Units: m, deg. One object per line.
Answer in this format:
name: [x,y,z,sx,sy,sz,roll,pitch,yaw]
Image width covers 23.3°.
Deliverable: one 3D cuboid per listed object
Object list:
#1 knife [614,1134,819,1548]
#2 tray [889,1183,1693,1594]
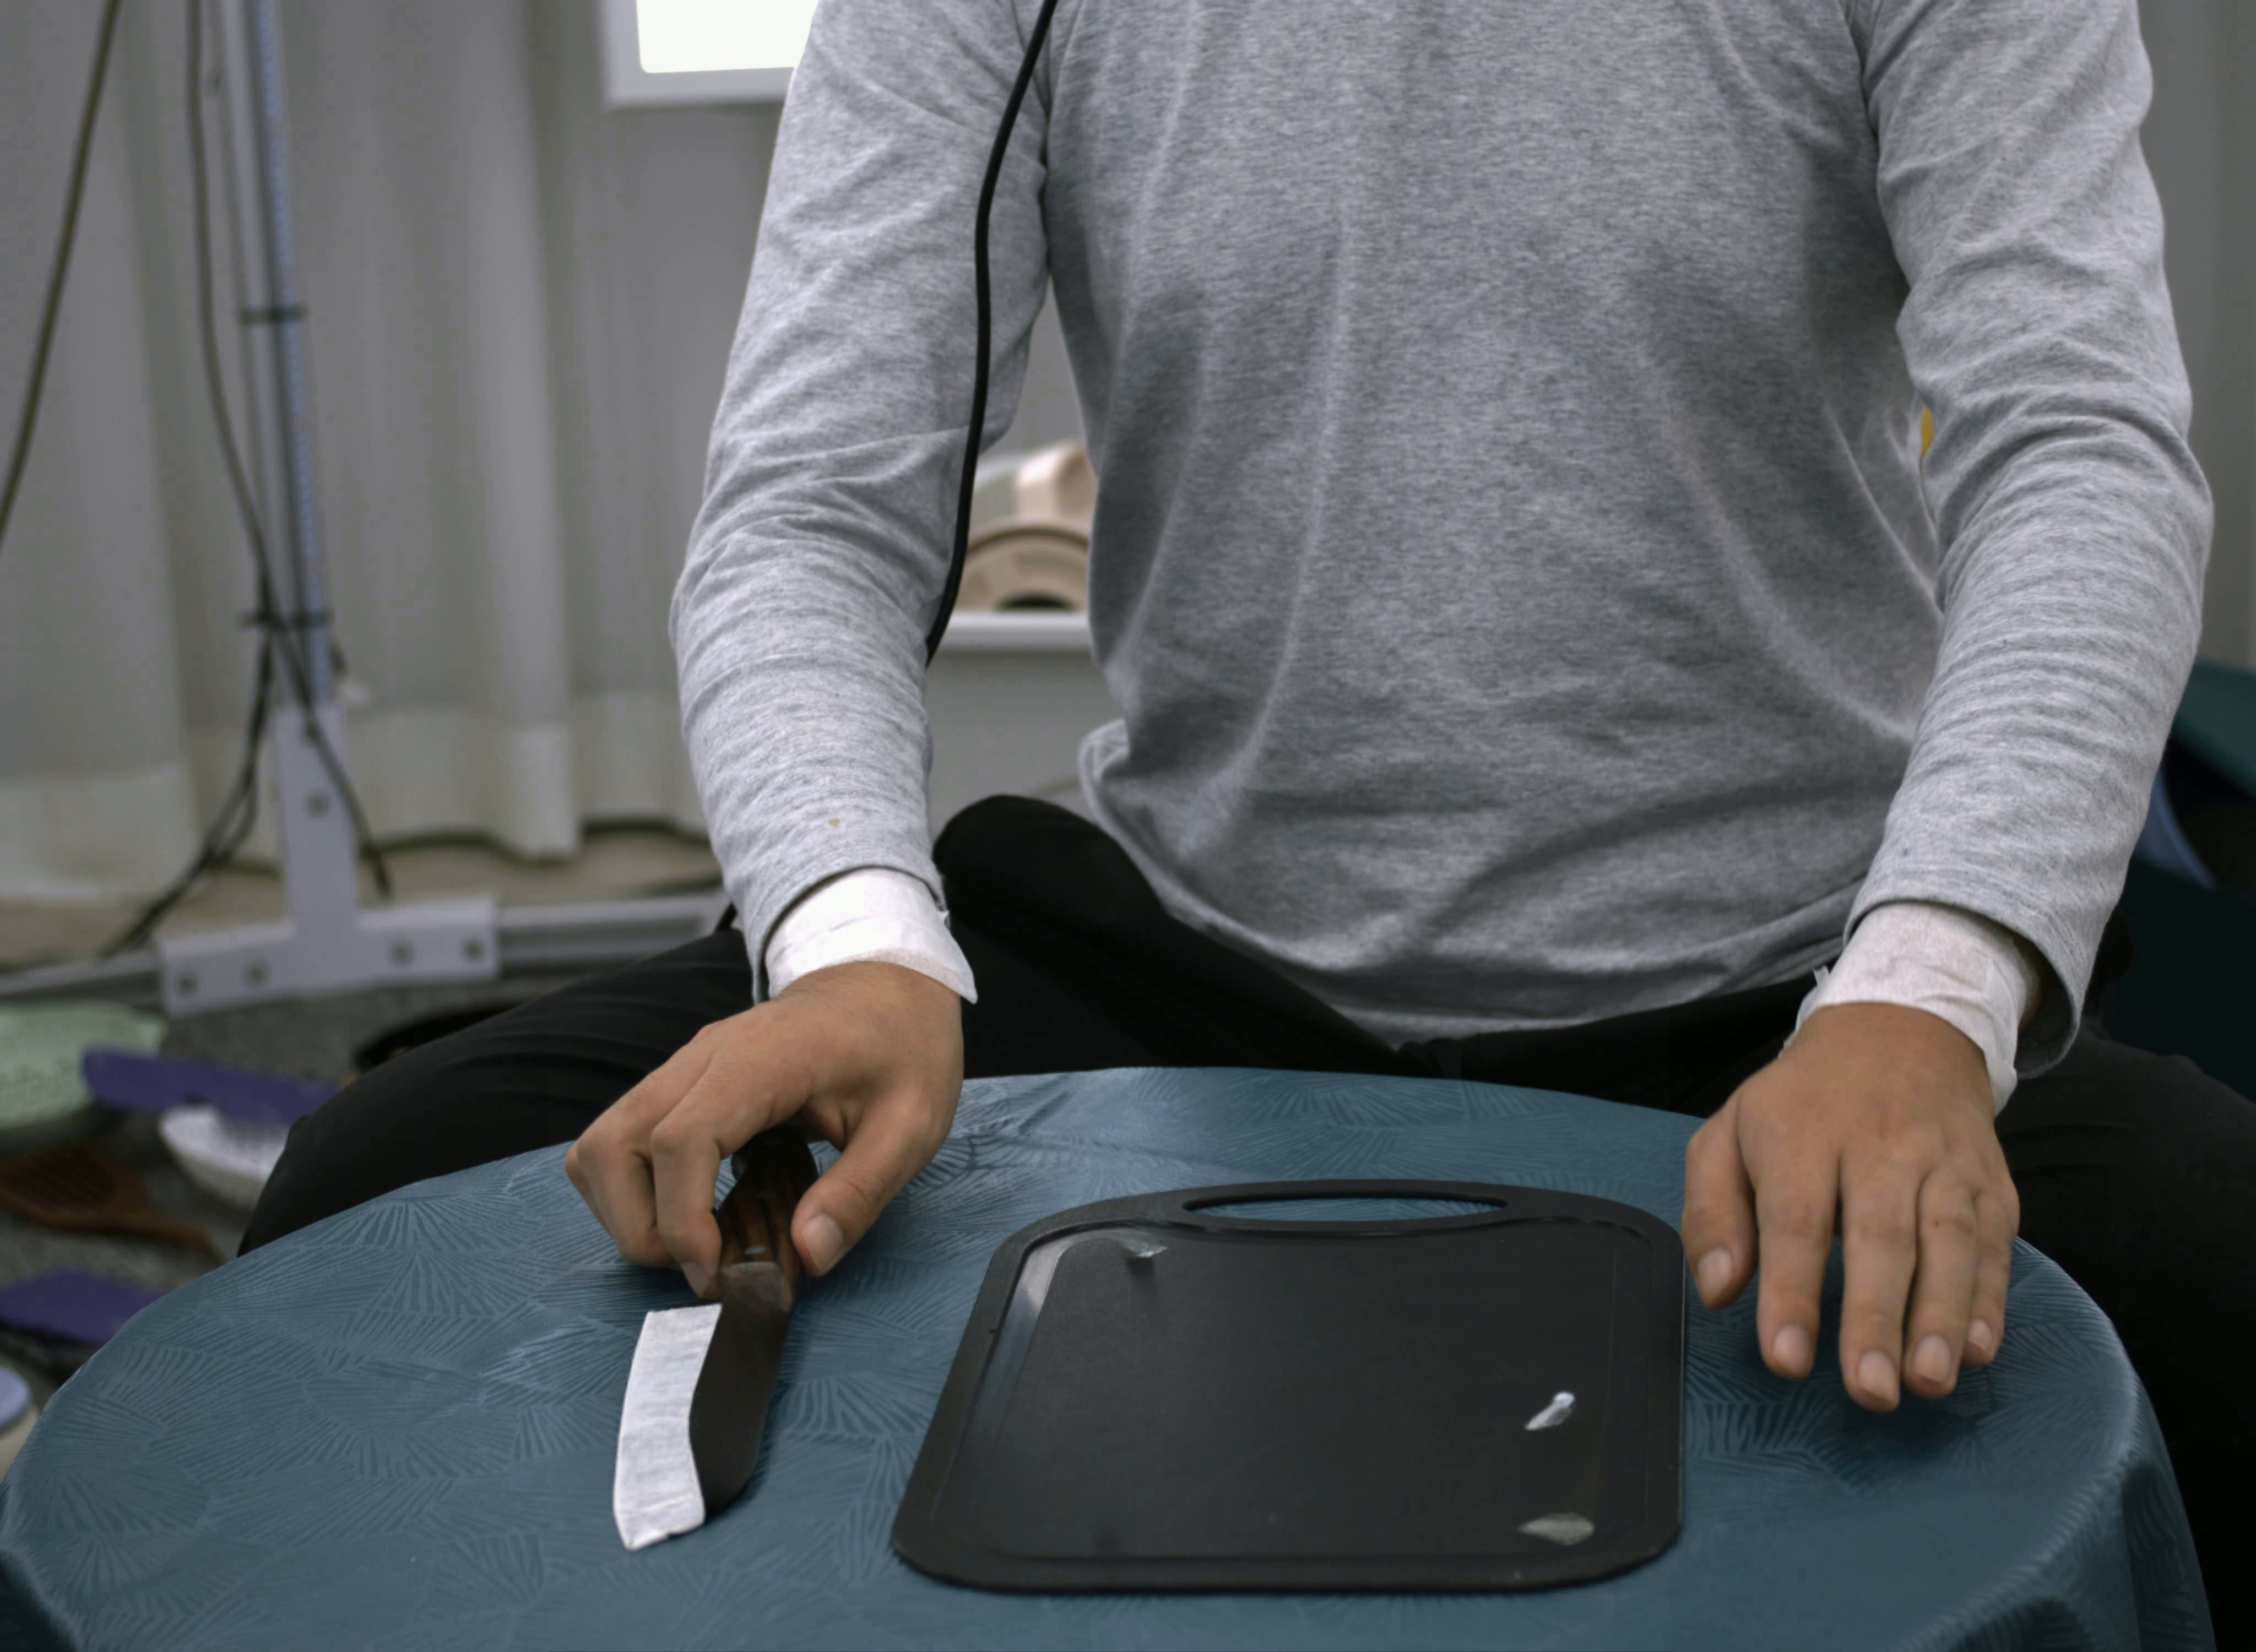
knife: [-0.118,0.148,1.585,0.050,0.020,0.291,-7,17,6]
tray: [0.053,0.153,1.553,0.210,0.010,0.327,-1,15,7]
